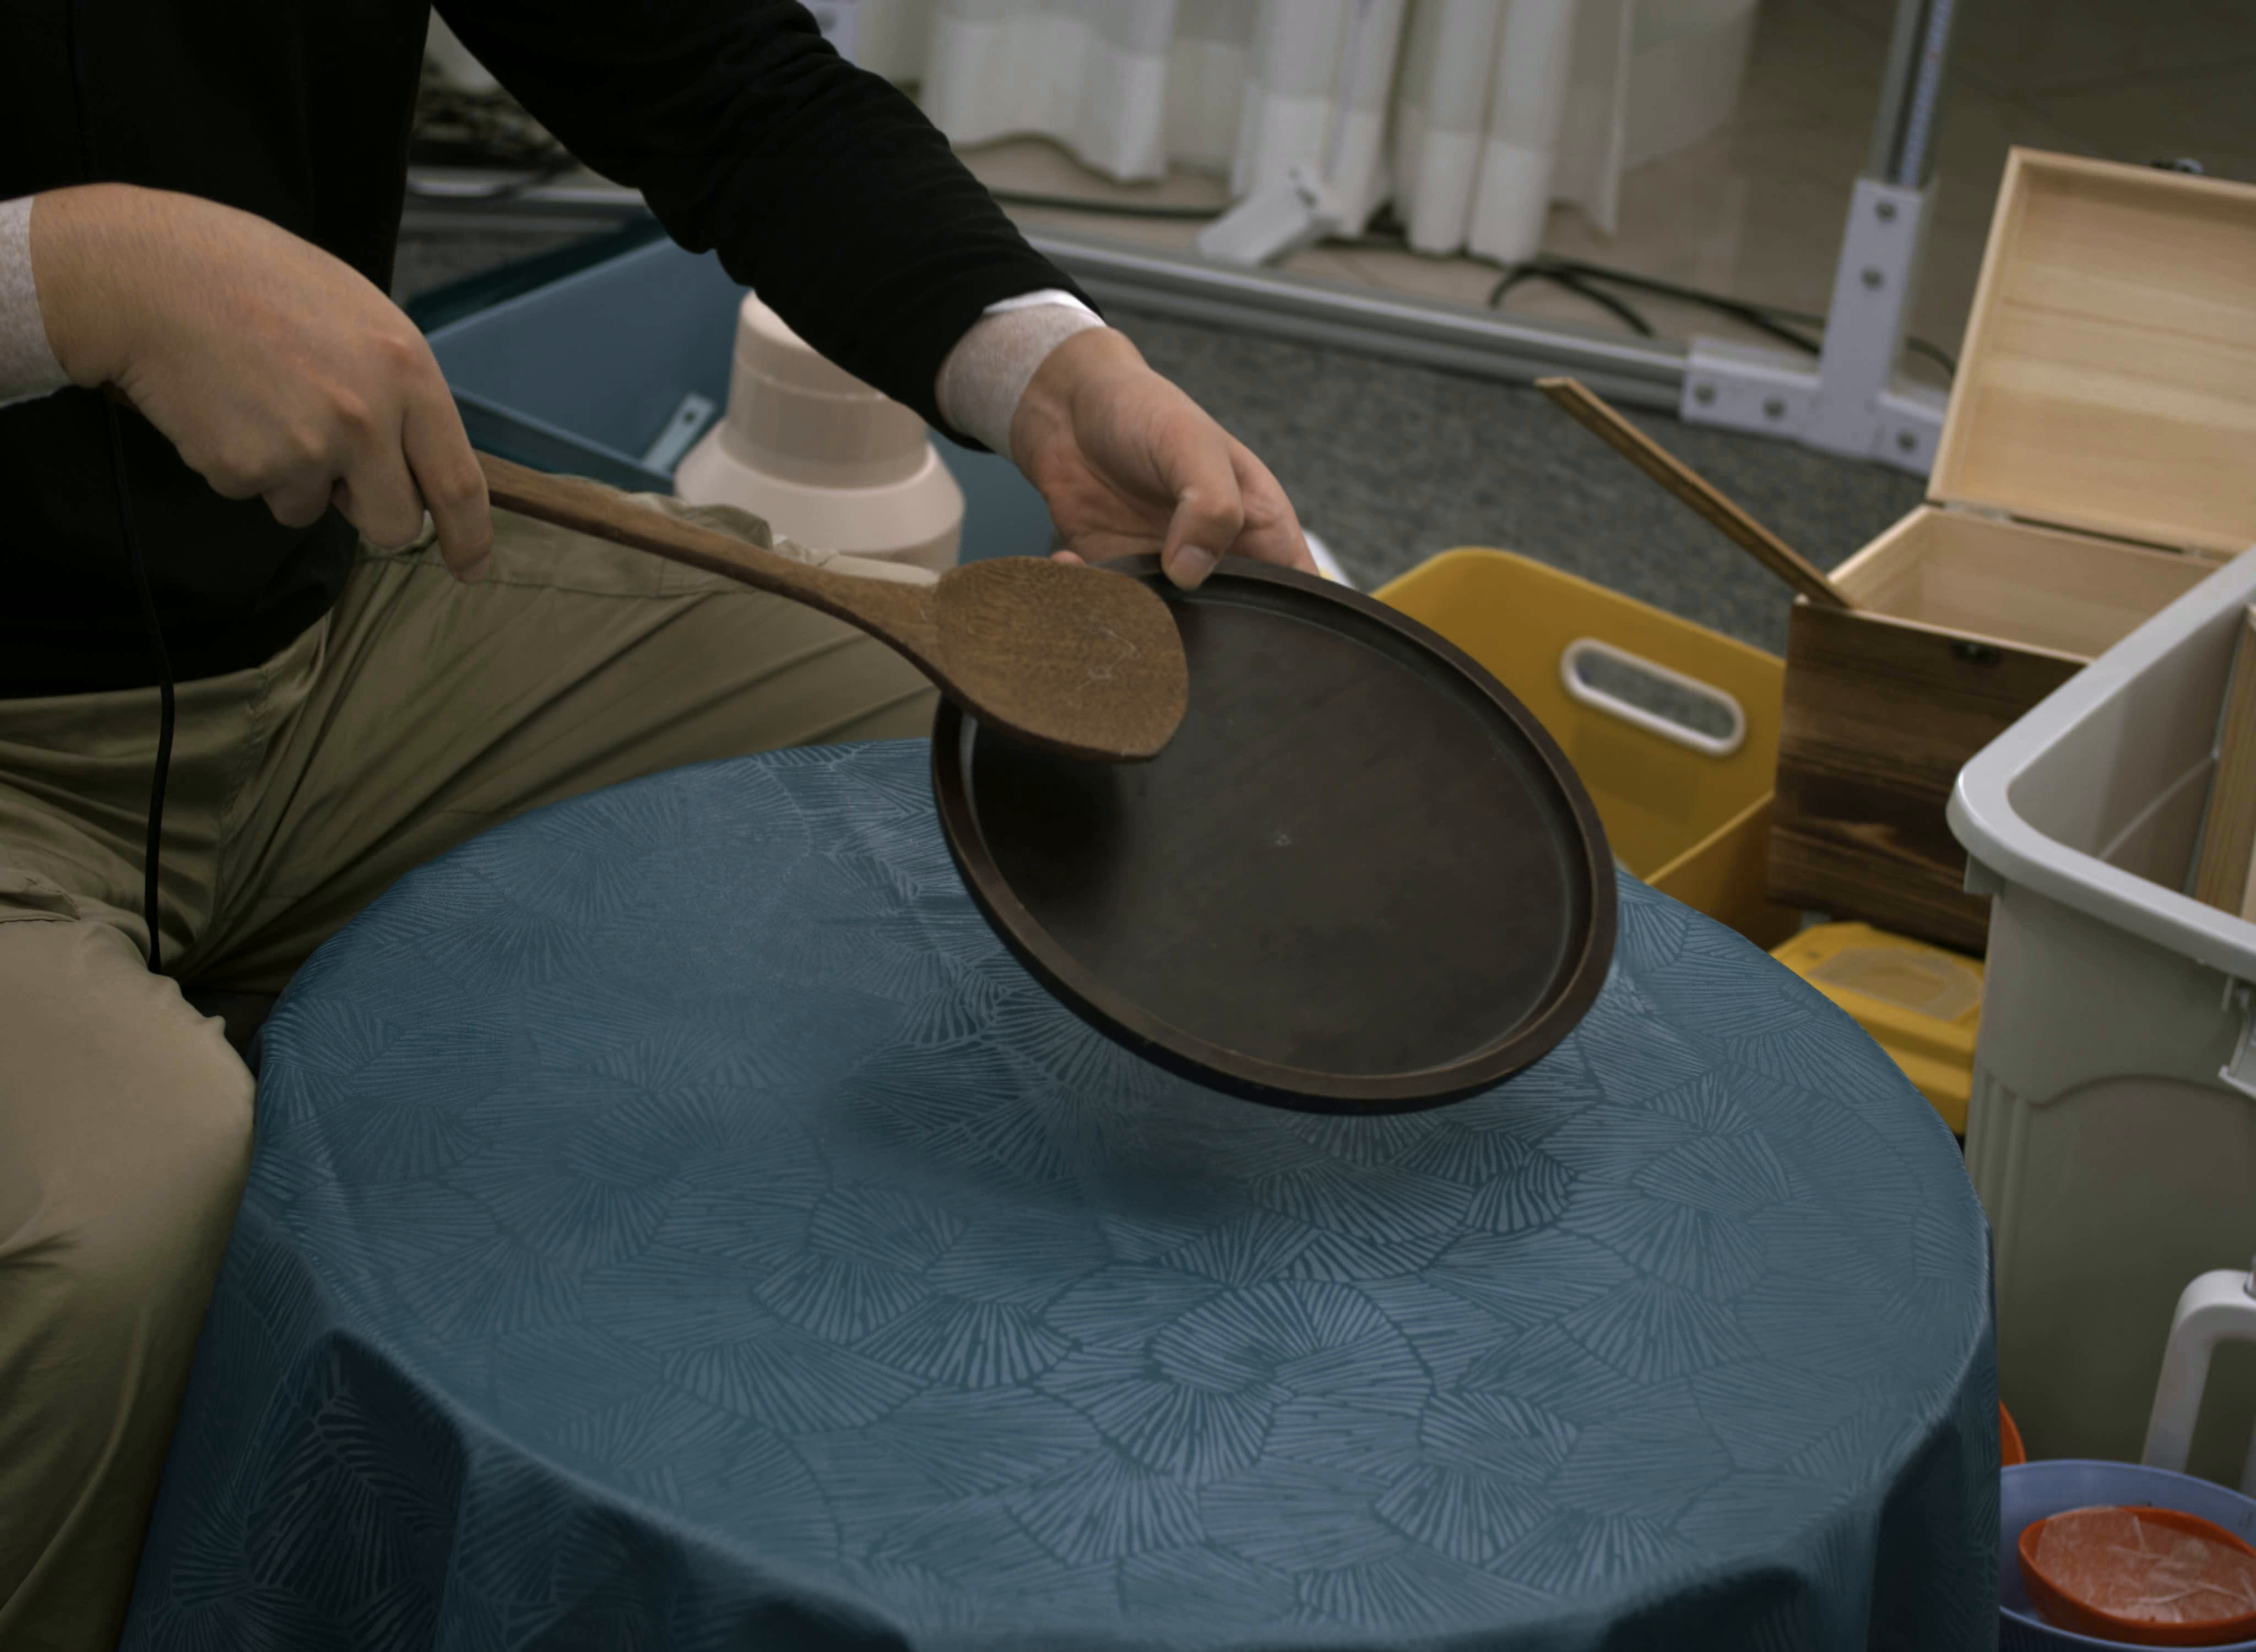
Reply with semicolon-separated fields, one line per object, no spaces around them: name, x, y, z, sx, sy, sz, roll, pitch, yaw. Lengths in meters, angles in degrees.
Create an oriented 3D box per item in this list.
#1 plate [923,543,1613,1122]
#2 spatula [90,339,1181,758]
plate;0.048;0.002;1.853;0.253;0.029;0.257;11;47;-13
spatula;-0.159;-0.100;1.784;0.383;0.016;0.097;17;41;-16
